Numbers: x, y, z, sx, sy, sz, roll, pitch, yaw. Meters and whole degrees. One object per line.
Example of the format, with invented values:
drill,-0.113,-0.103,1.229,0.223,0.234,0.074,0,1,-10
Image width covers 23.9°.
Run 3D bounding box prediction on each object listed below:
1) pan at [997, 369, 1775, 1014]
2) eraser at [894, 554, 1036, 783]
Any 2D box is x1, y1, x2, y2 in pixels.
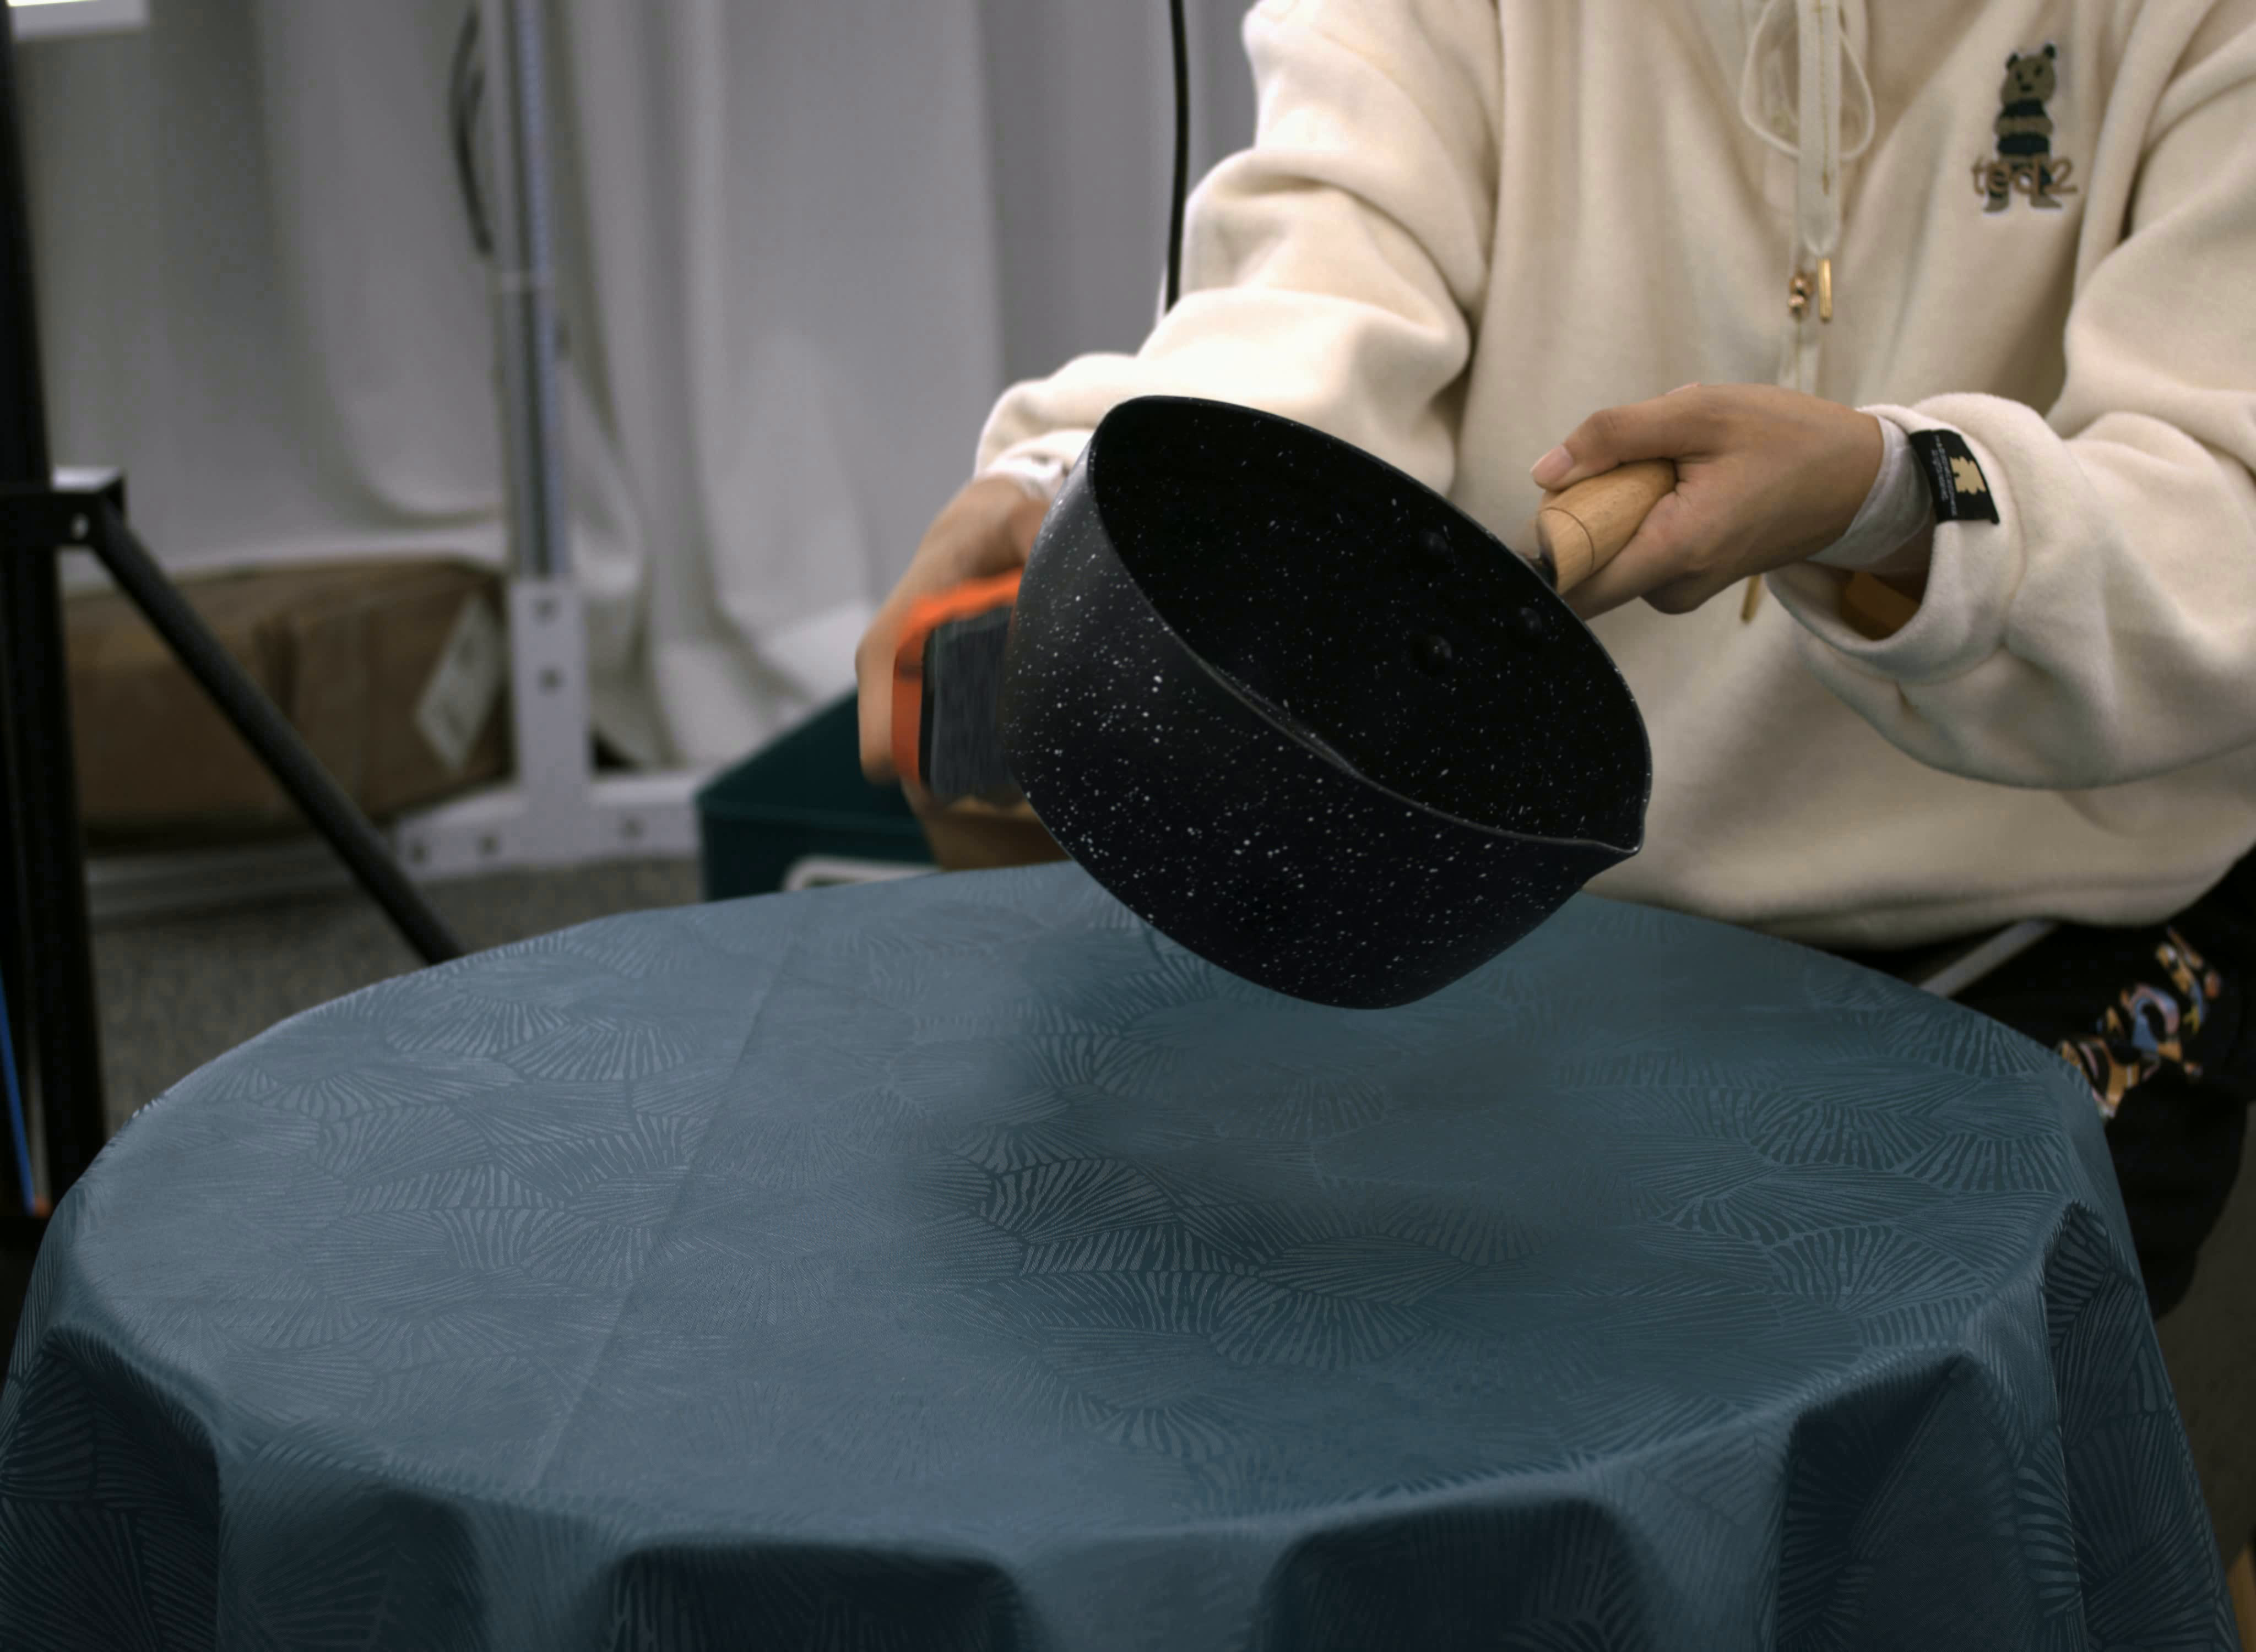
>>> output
pan,0.090,-0.058,1.554,0.209,0.109,0.337,40,31,13
eraser,-0.021,-0.052,1.574,0.105,0.059,0.023,-15,28,-37
